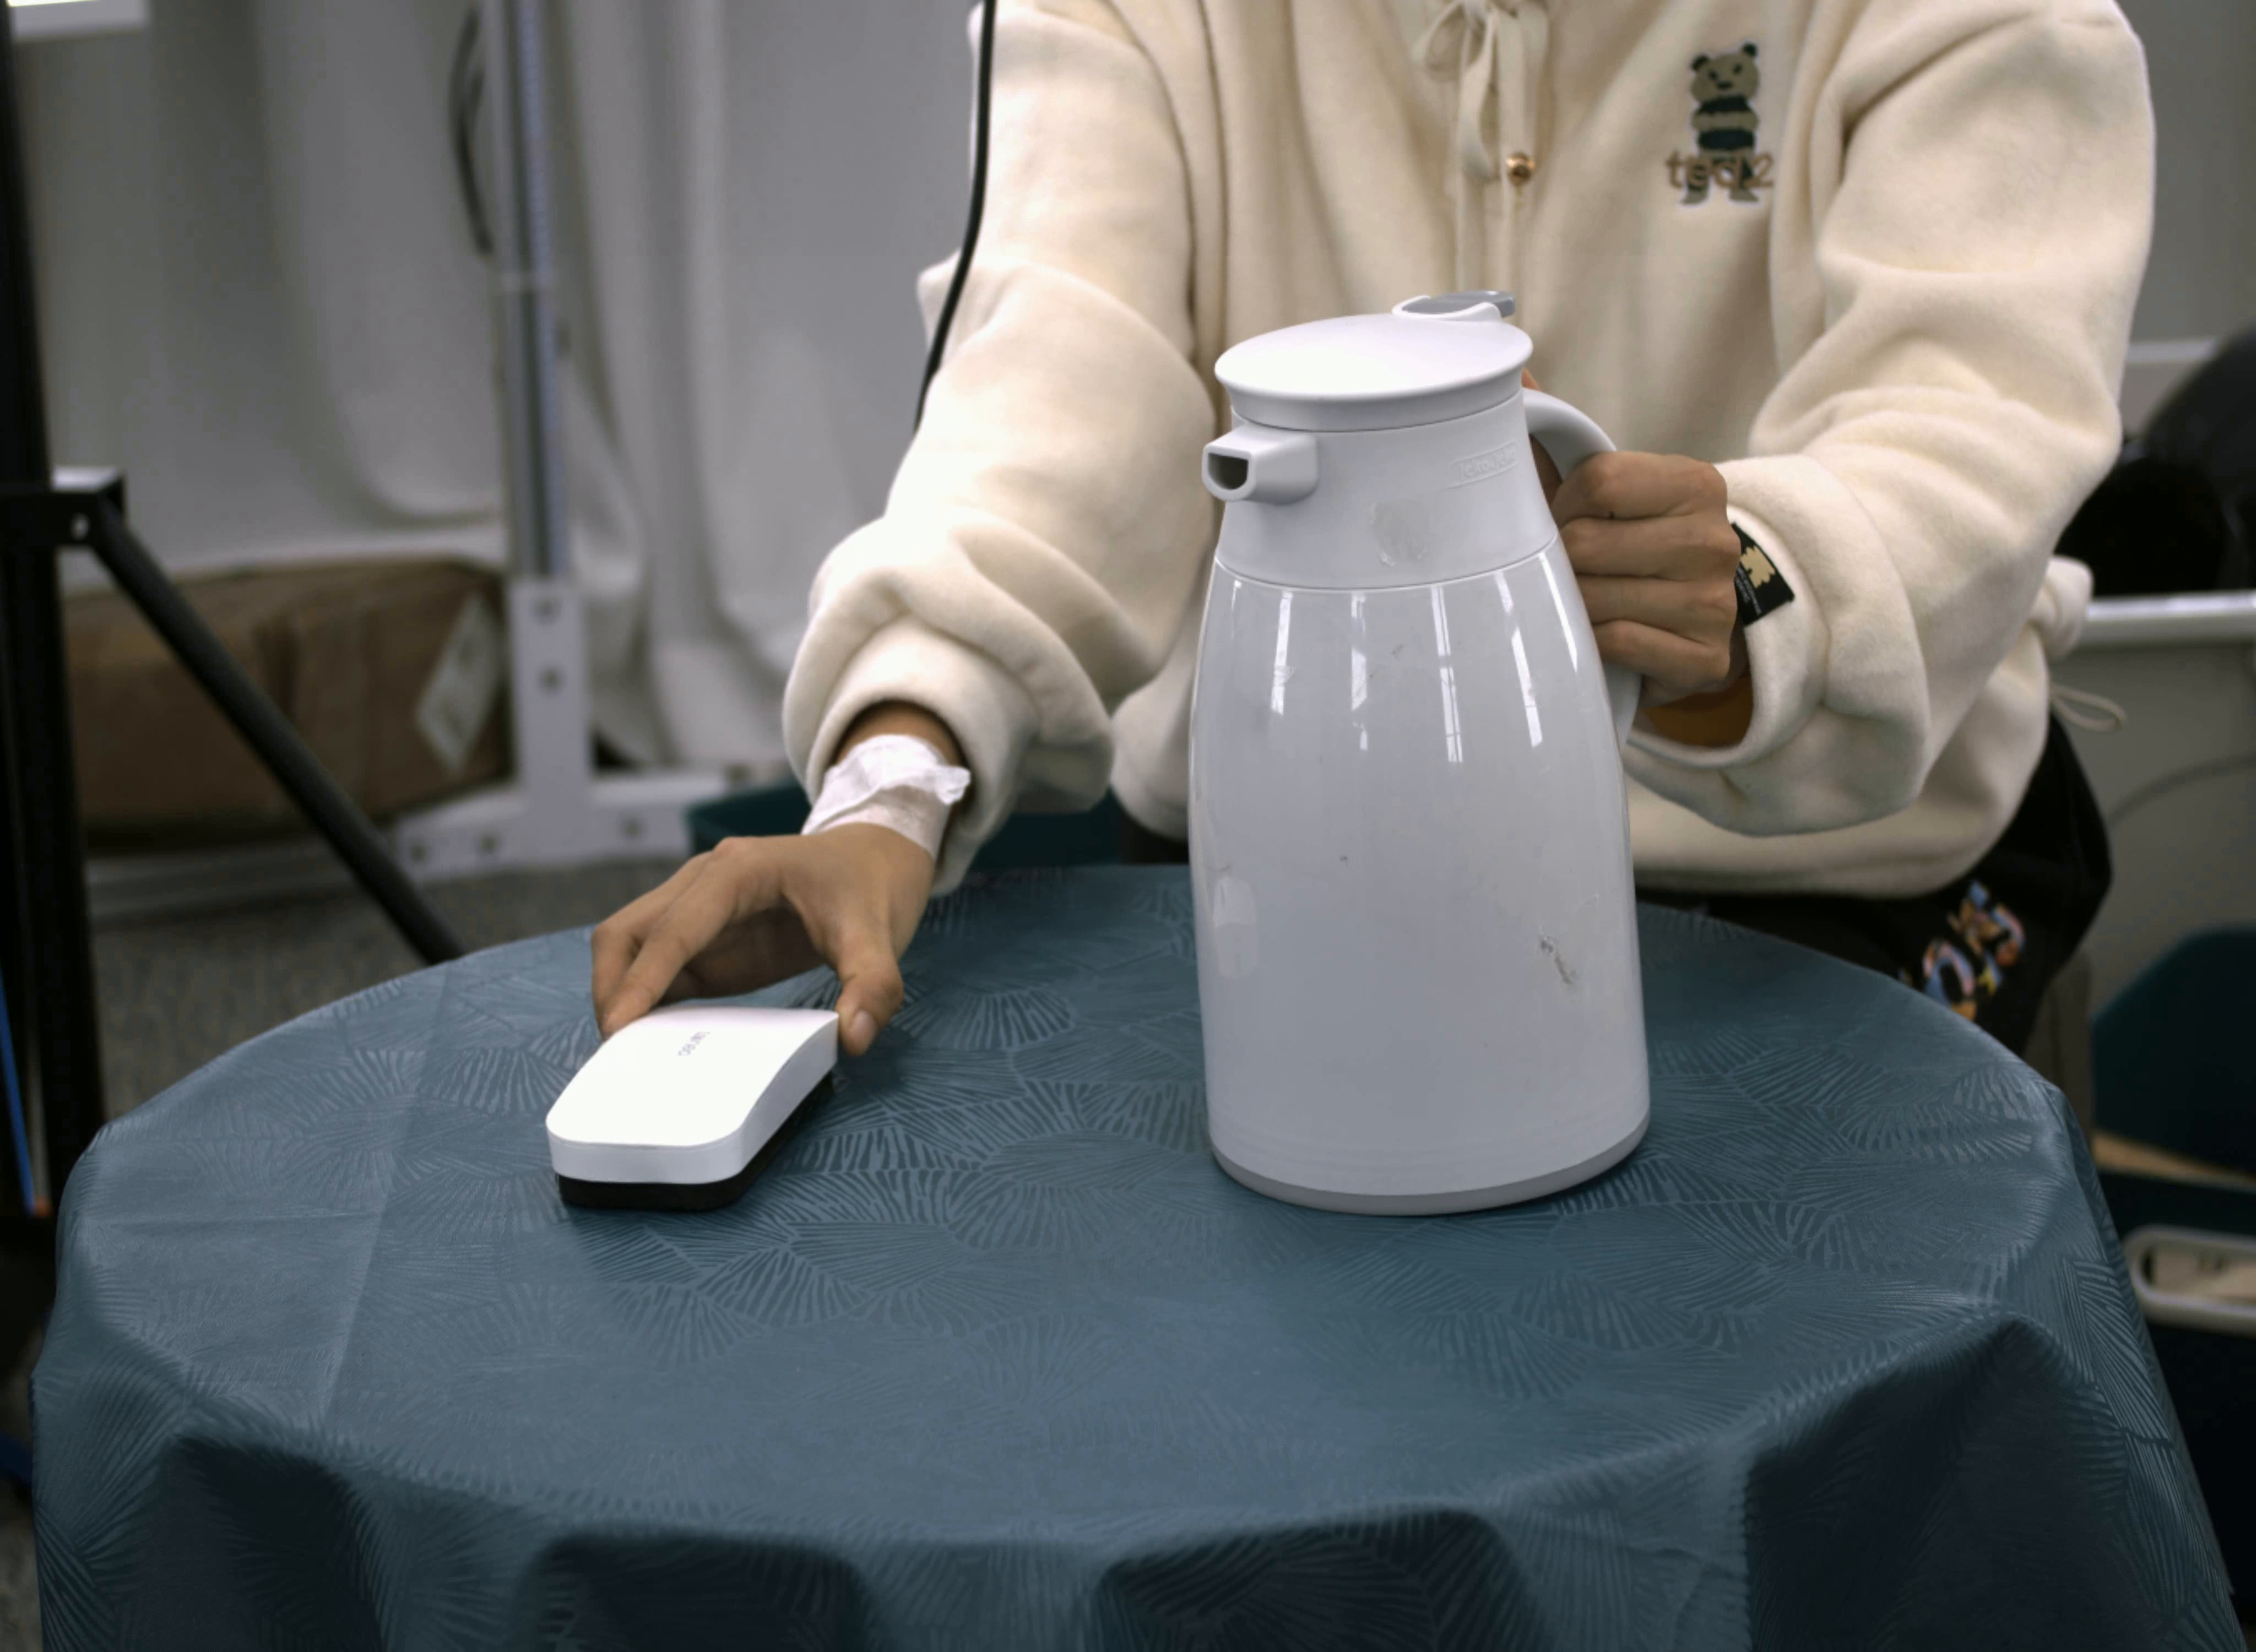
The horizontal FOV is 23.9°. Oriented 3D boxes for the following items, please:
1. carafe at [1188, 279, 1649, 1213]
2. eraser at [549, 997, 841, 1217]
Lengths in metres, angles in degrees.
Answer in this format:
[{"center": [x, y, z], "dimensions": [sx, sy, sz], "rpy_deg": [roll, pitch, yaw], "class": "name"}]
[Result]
[{"center": [0.093, -0.032, 1.560], "dimensions": [0.164, 0.248, 0.135], "rpy_deg": [-20, 23, -41], "class": "carafe"}, {"center": [-0.129, 0.081, 1.616], "dimensions": [0.064, 0.034, 0.130], "rpy_deg": [4, 17, 13], "class": "eraser"}]
